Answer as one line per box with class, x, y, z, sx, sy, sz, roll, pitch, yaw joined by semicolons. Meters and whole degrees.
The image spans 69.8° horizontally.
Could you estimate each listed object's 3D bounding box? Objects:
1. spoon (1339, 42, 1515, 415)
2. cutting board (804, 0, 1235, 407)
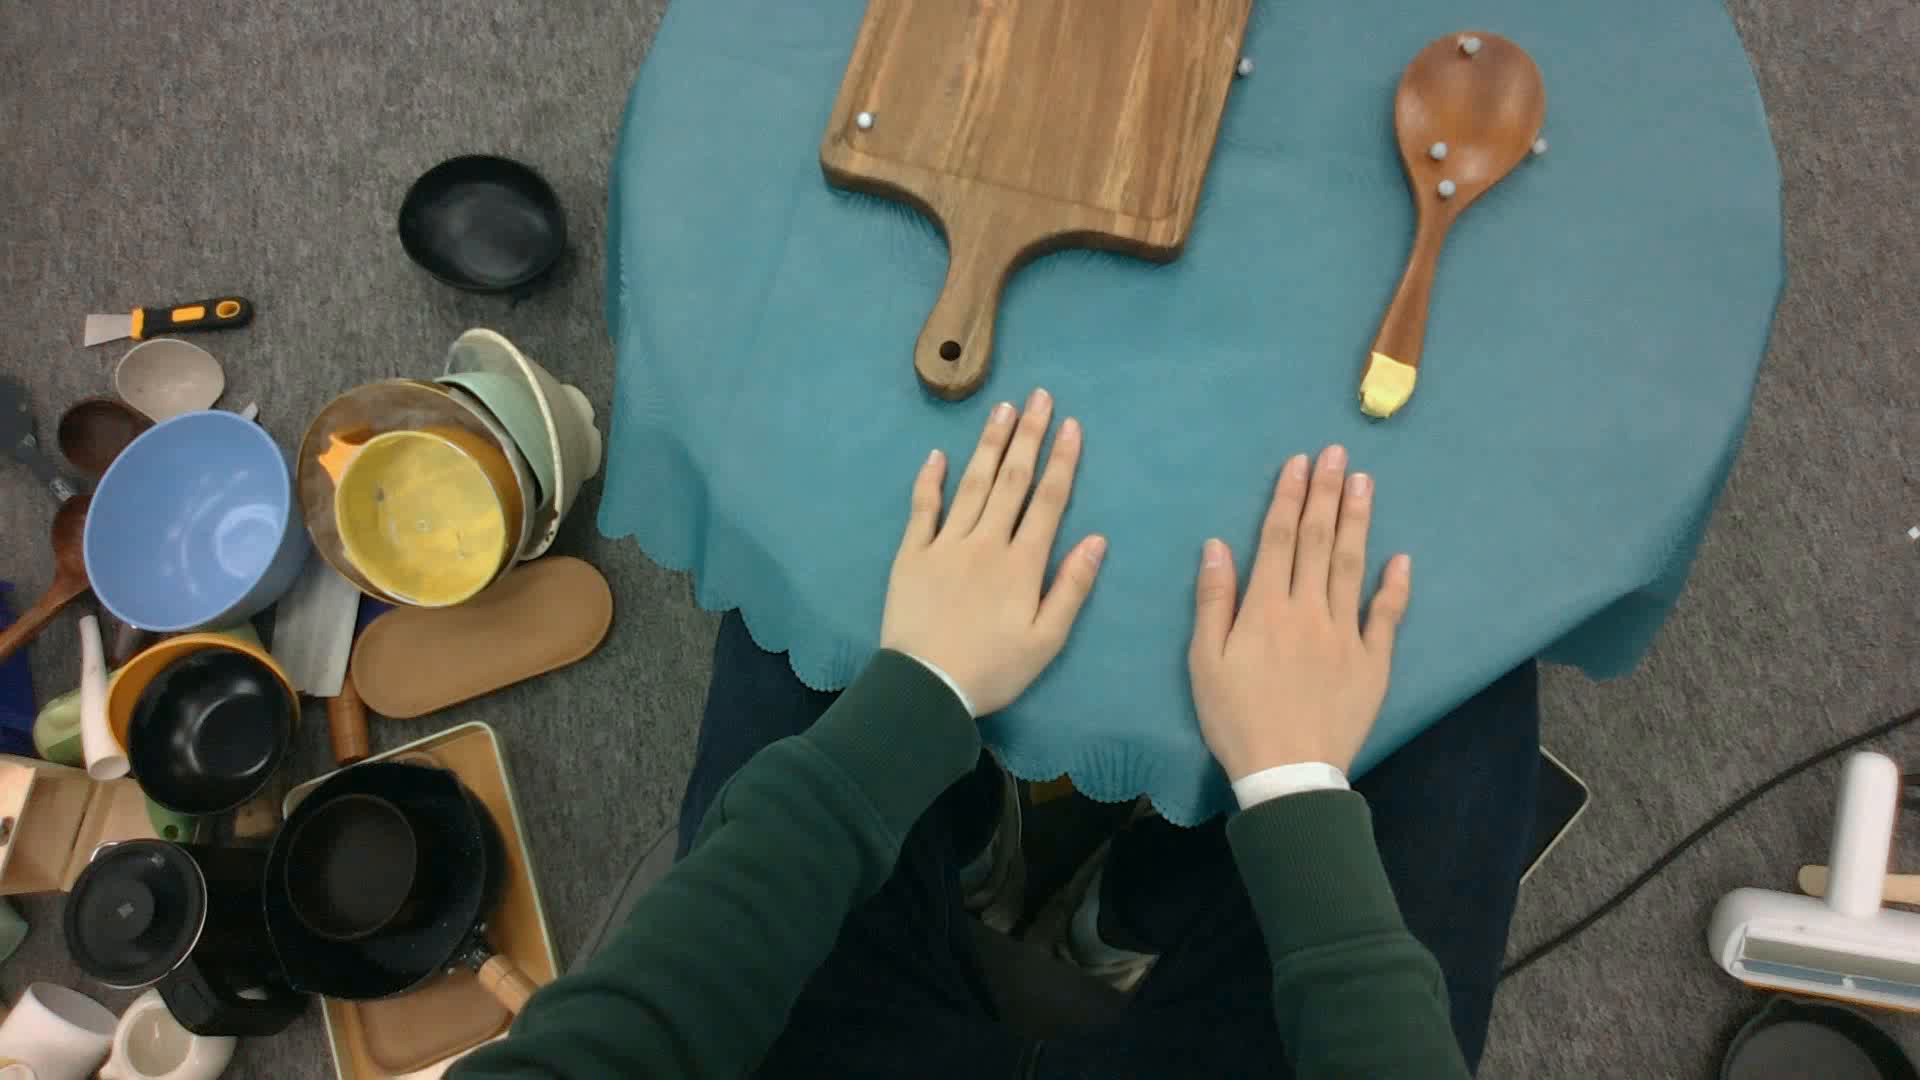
spoon;0.230;-0.161;0.701;0.075;0.017;0.216;18;74;6
cutting board;0.030;-0.235;0.732;0.201;0.023;0.353;15;75;5
